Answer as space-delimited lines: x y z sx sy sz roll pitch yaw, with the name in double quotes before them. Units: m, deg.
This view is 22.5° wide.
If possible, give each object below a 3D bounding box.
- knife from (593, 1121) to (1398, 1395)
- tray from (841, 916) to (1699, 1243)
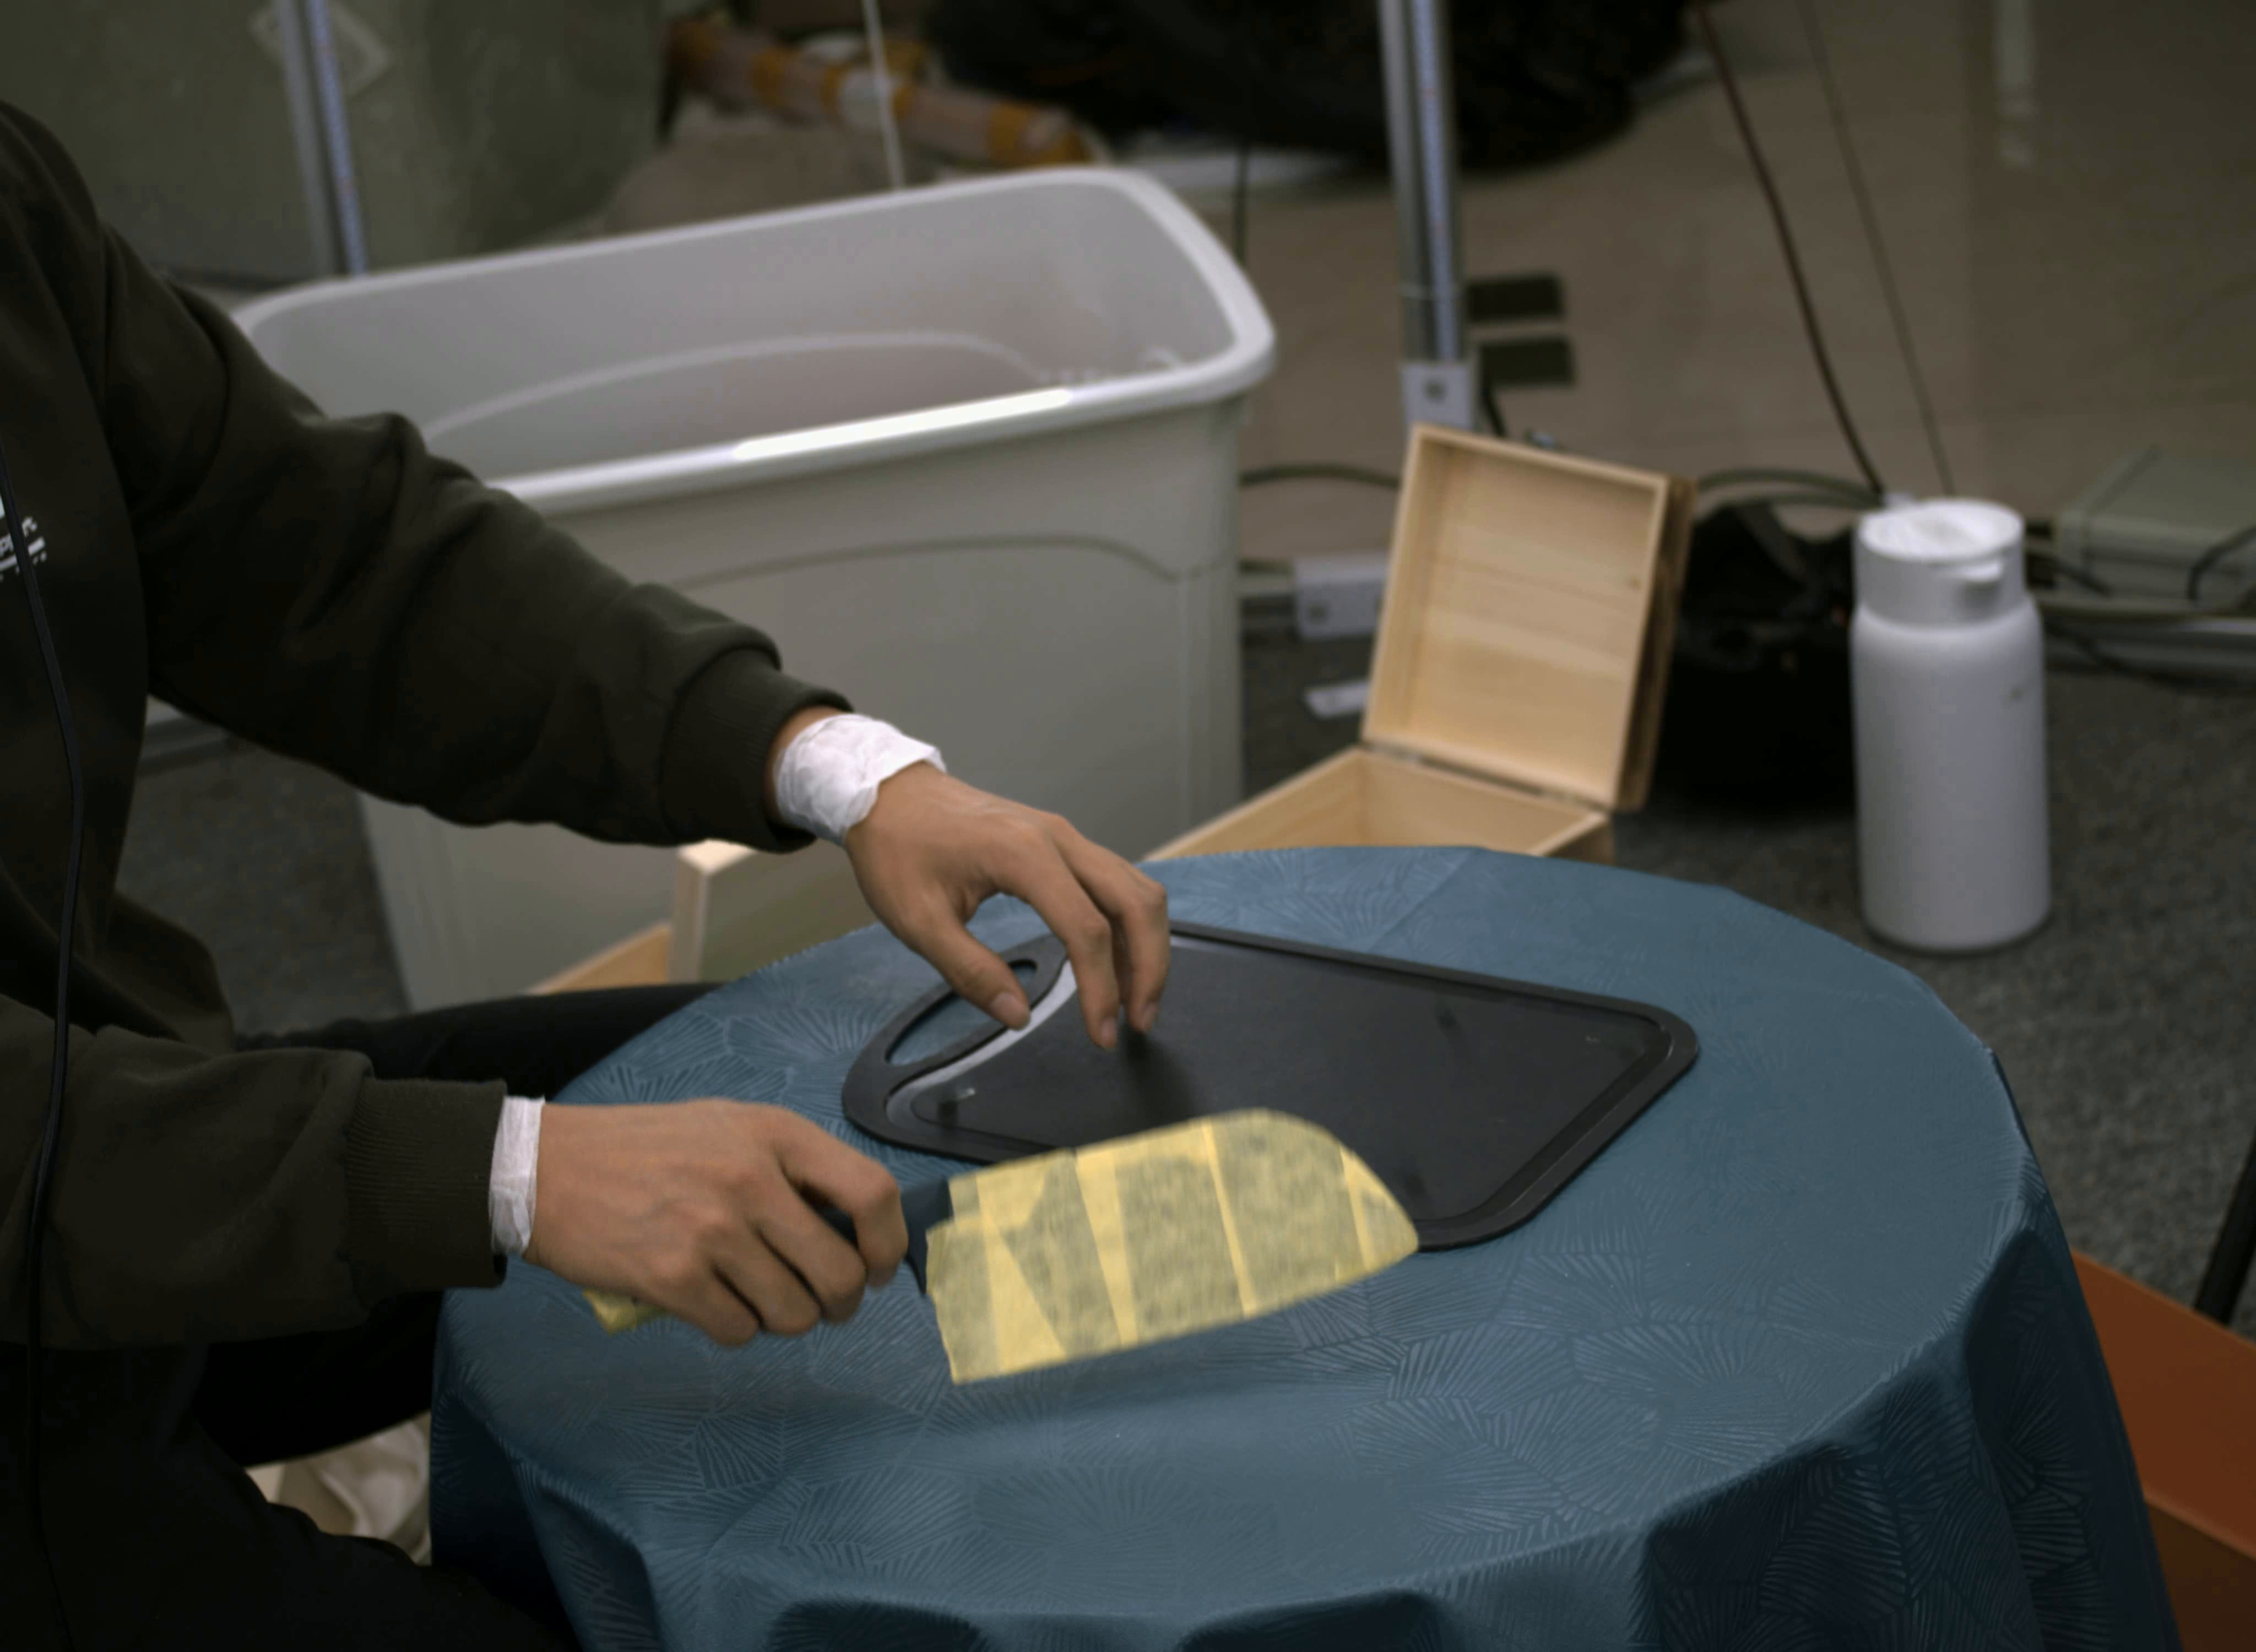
"knife" -0.046 0.160 2.015 0.289 0.080 0.027 -10 -18 1
"tray" 0.047 0.094 2.228 0.324 0.010 0.209 10 29 32
